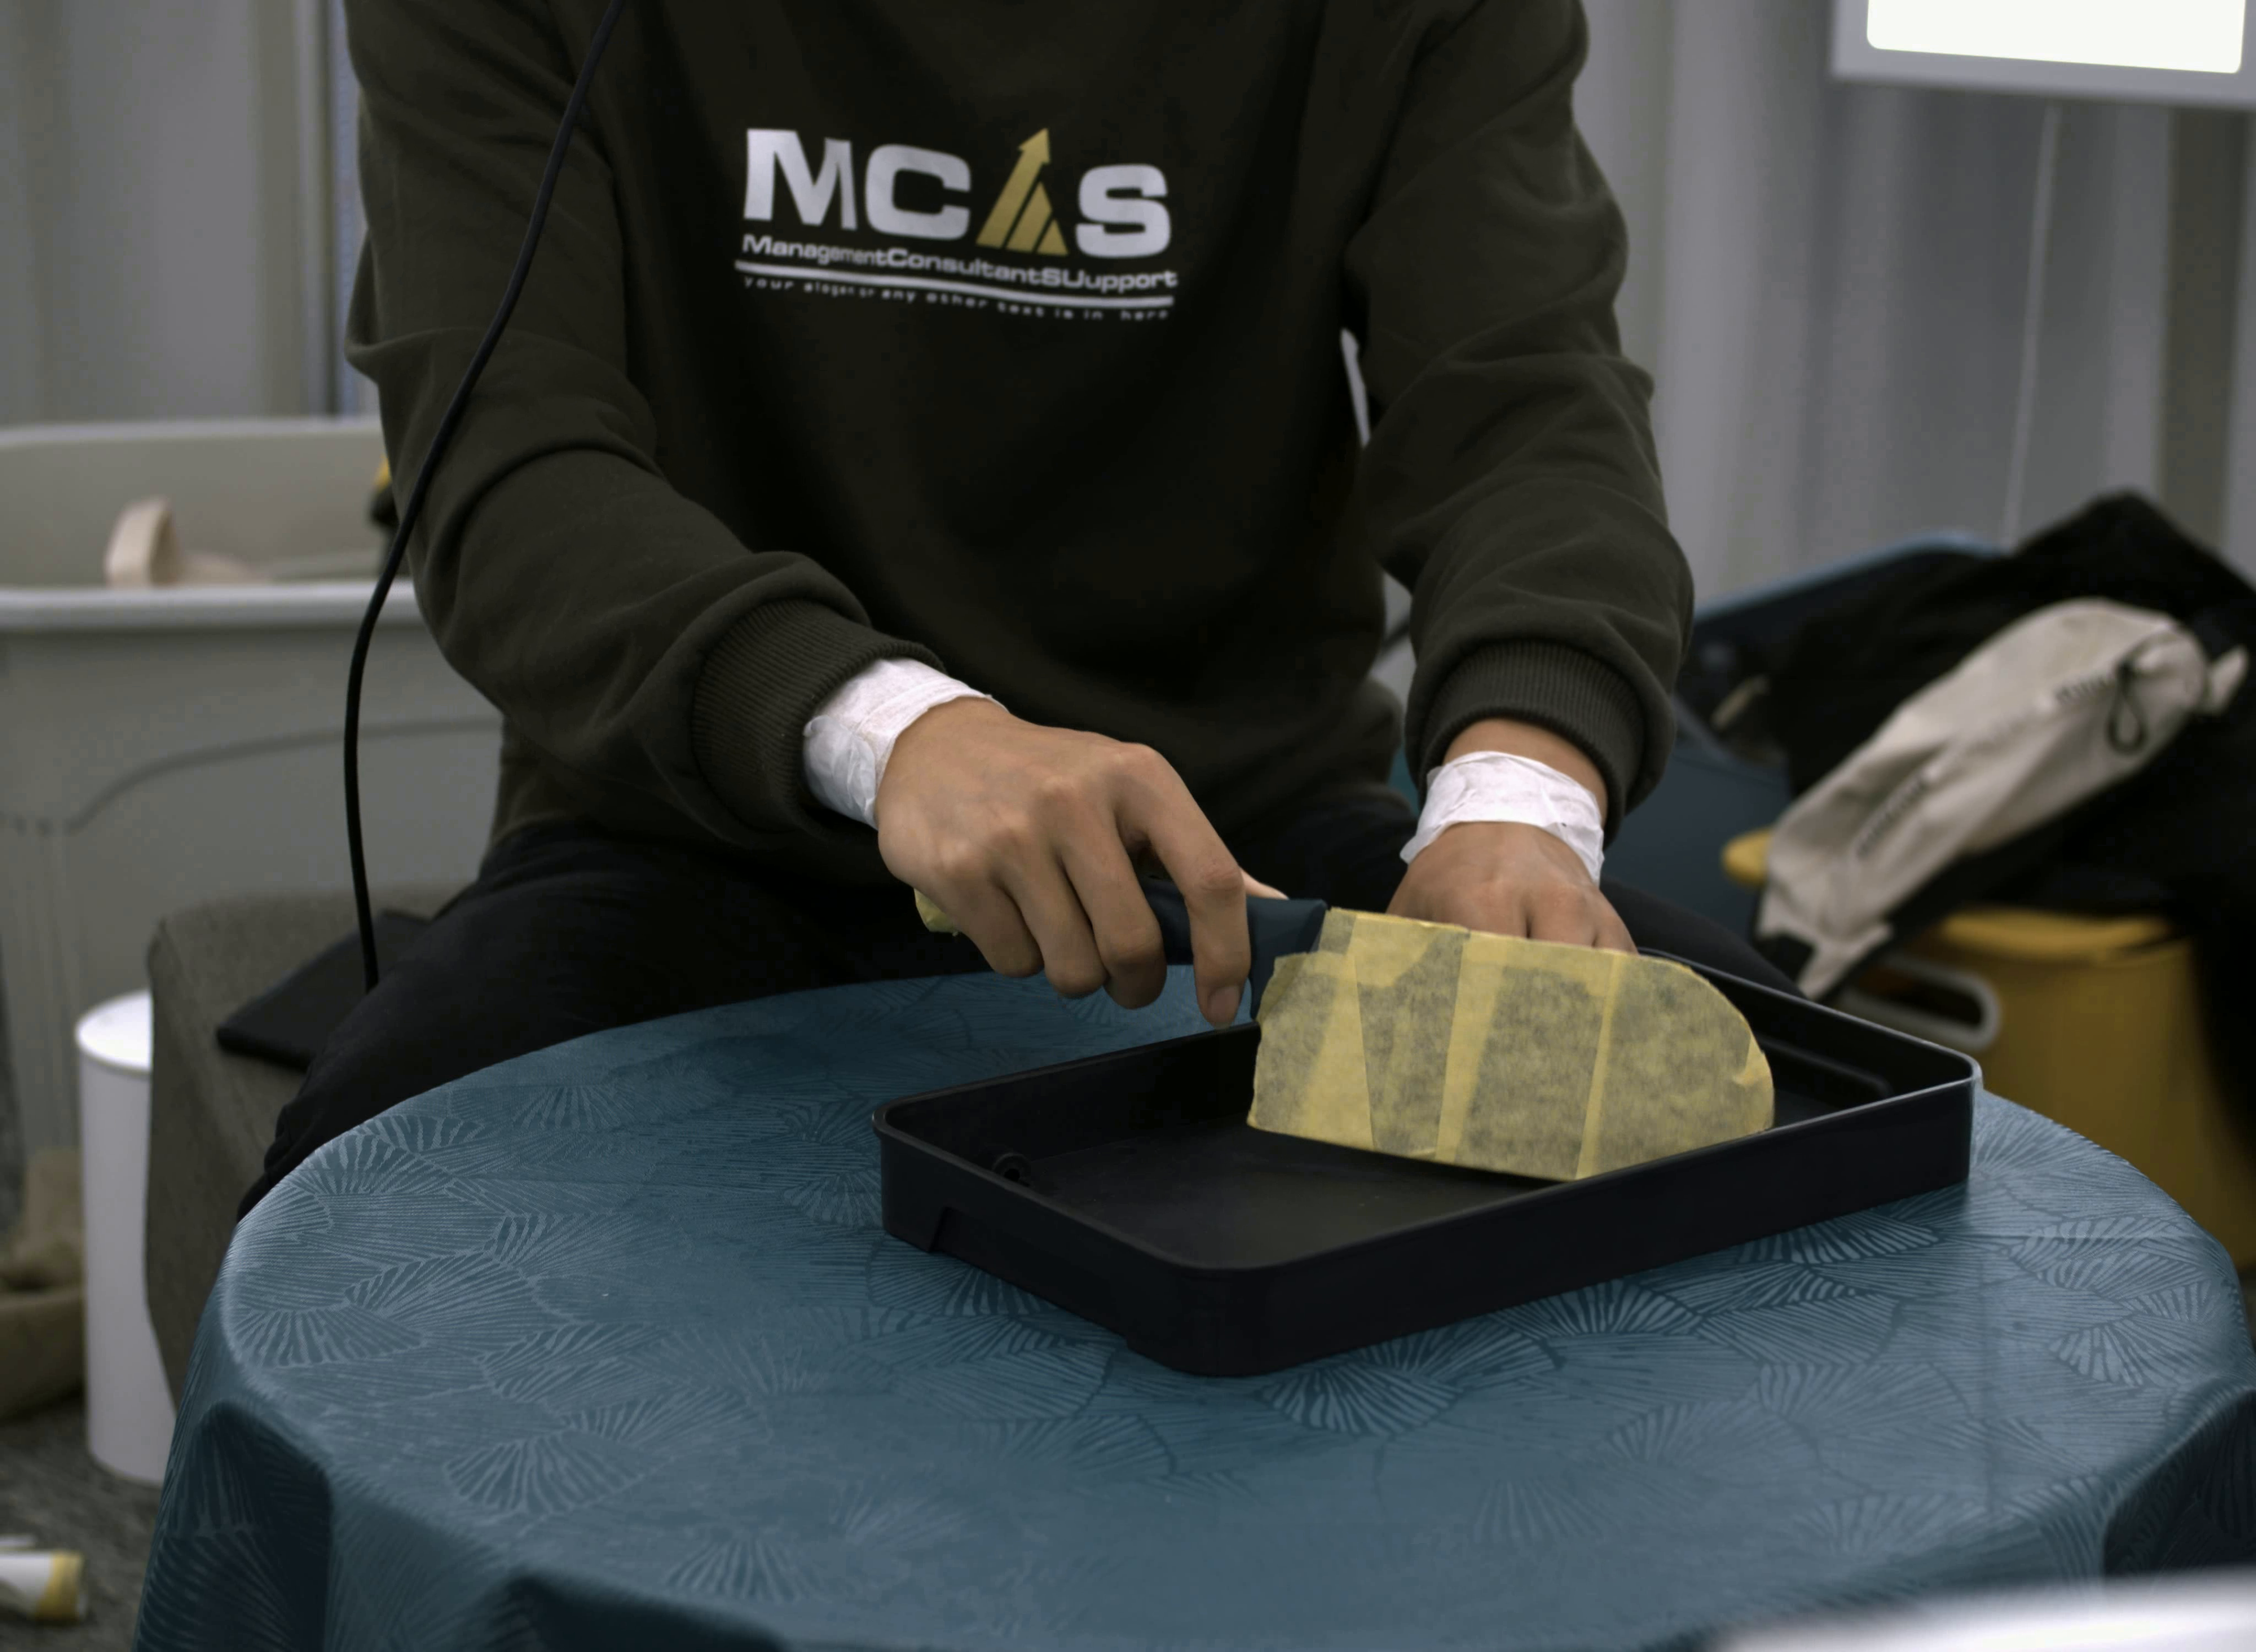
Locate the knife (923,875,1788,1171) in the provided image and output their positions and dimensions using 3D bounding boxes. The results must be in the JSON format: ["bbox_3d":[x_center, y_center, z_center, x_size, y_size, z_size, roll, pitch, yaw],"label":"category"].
[{"bbox_3d":[0.067,0.062,1.639,0.287,0.081,0.027,11,-5,18],"label":"knife"}]

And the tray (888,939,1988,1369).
[{"bbox_3d":[0.098,0.095,1.621,0.319,0.037,0.182,-11,19,-38],"label":"tray"}]
